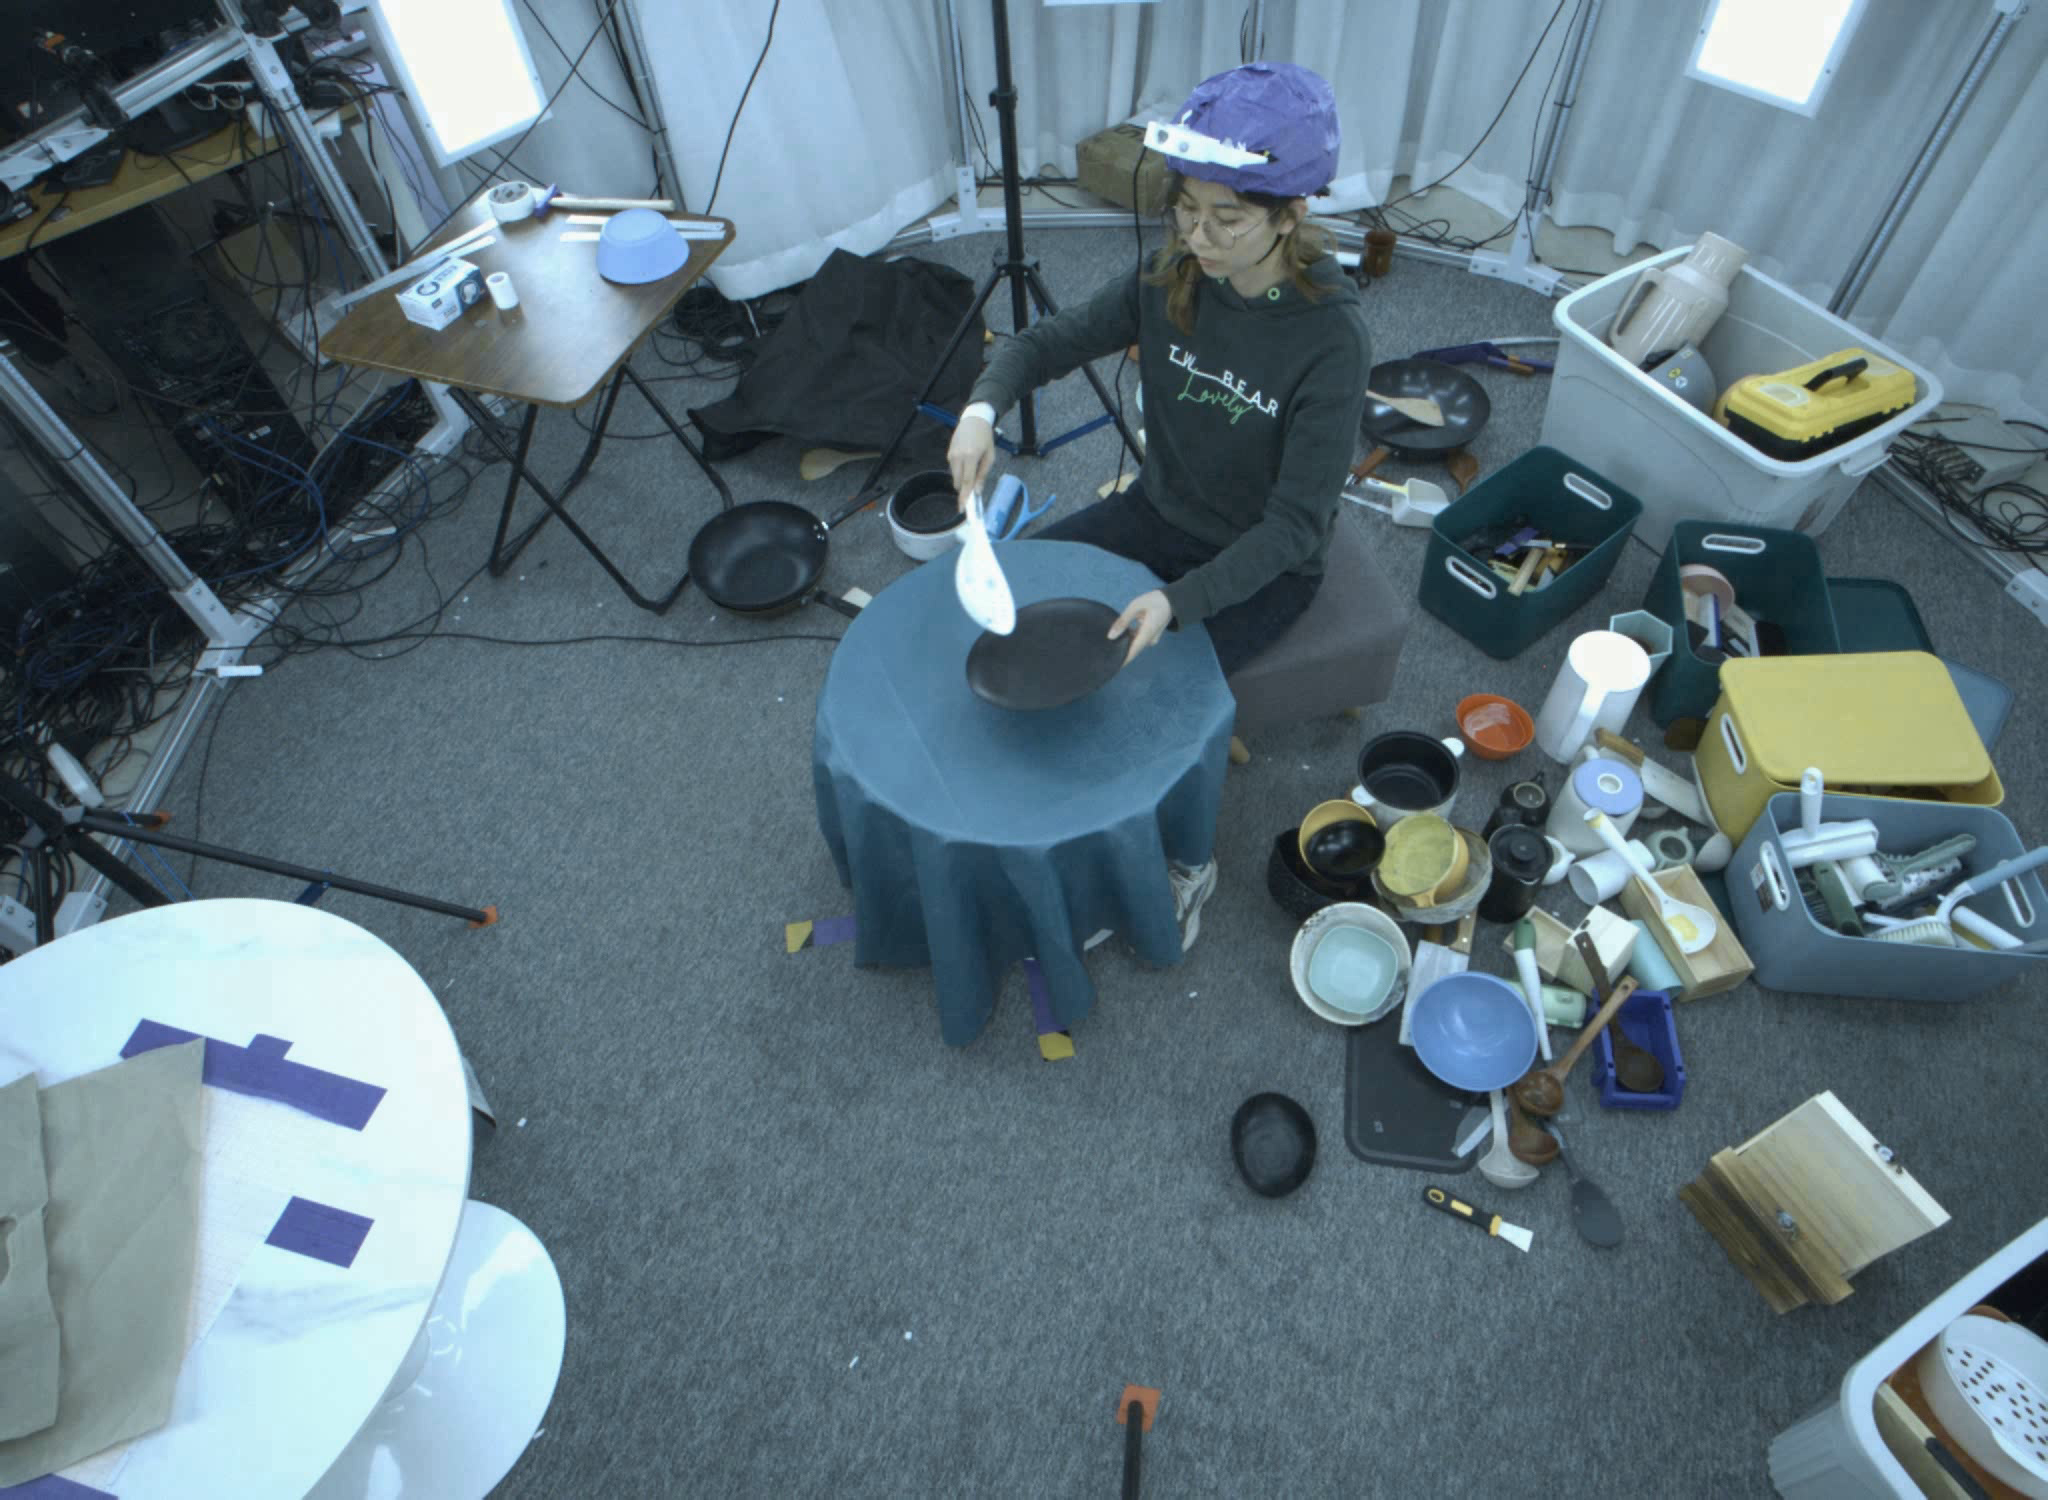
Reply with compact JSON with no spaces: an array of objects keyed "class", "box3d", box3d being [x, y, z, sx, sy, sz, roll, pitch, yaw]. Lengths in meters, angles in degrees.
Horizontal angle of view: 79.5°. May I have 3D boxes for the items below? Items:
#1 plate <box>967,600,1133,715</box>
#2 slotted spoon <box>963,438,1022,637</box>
[{"class":"plate","box3d":[0.038,-0.129,1.769,0.243,0.024,0.242,-8,45,10]},{"class":"slotted spoon","box3d":[-0.060,-0.316,1.777,0.045,0.139,0.346,-15,65,24]}]
